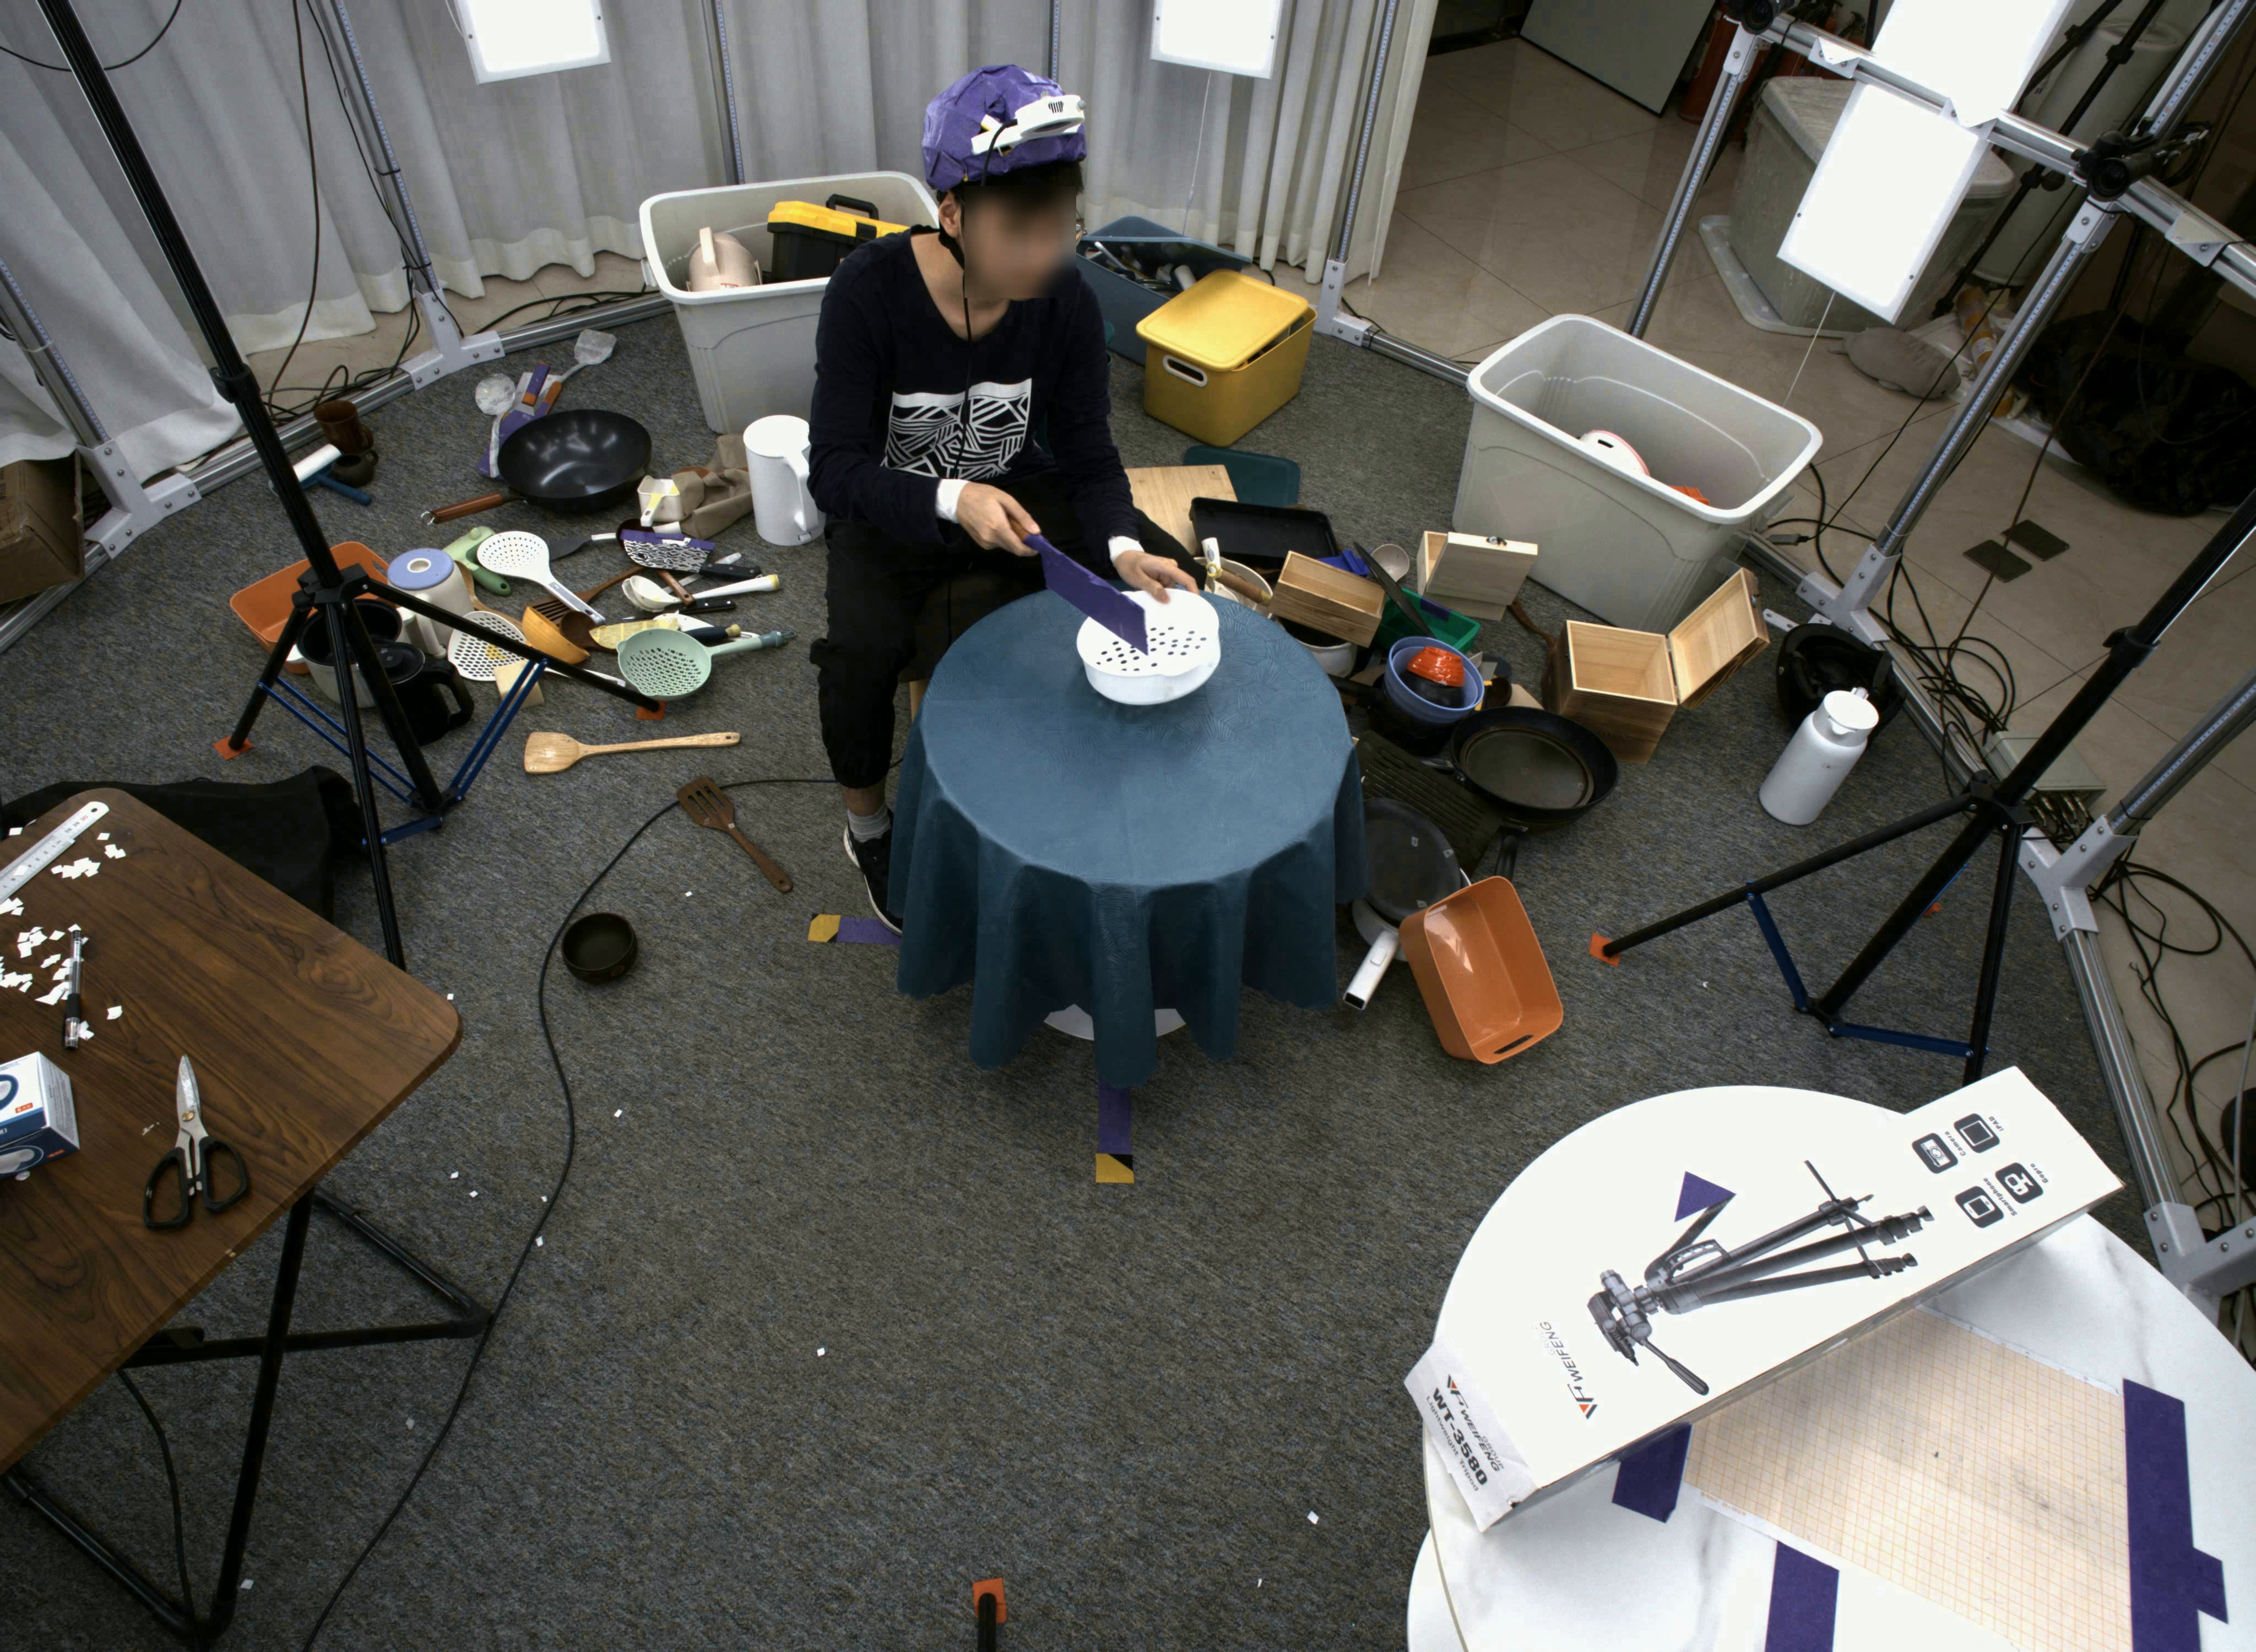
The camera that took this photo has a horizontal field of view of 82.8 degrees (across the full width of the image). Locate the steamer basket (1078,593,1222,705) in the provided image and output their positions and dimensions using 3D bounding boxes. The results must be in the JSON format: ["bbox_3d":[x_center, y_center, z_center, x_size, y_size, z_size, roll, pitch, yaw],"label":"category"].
[{"bbox_3d":[0.034,-0.249,1.810,0.202,0.067,0.235,-26,40,-15],"label":"steamer basket"}]

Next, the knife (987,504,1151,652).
[{"bbox_3d":[-0.083,-0.336,1.764,0.032,0.101,0.321,-35,56,-22],"label":"knife"}]
